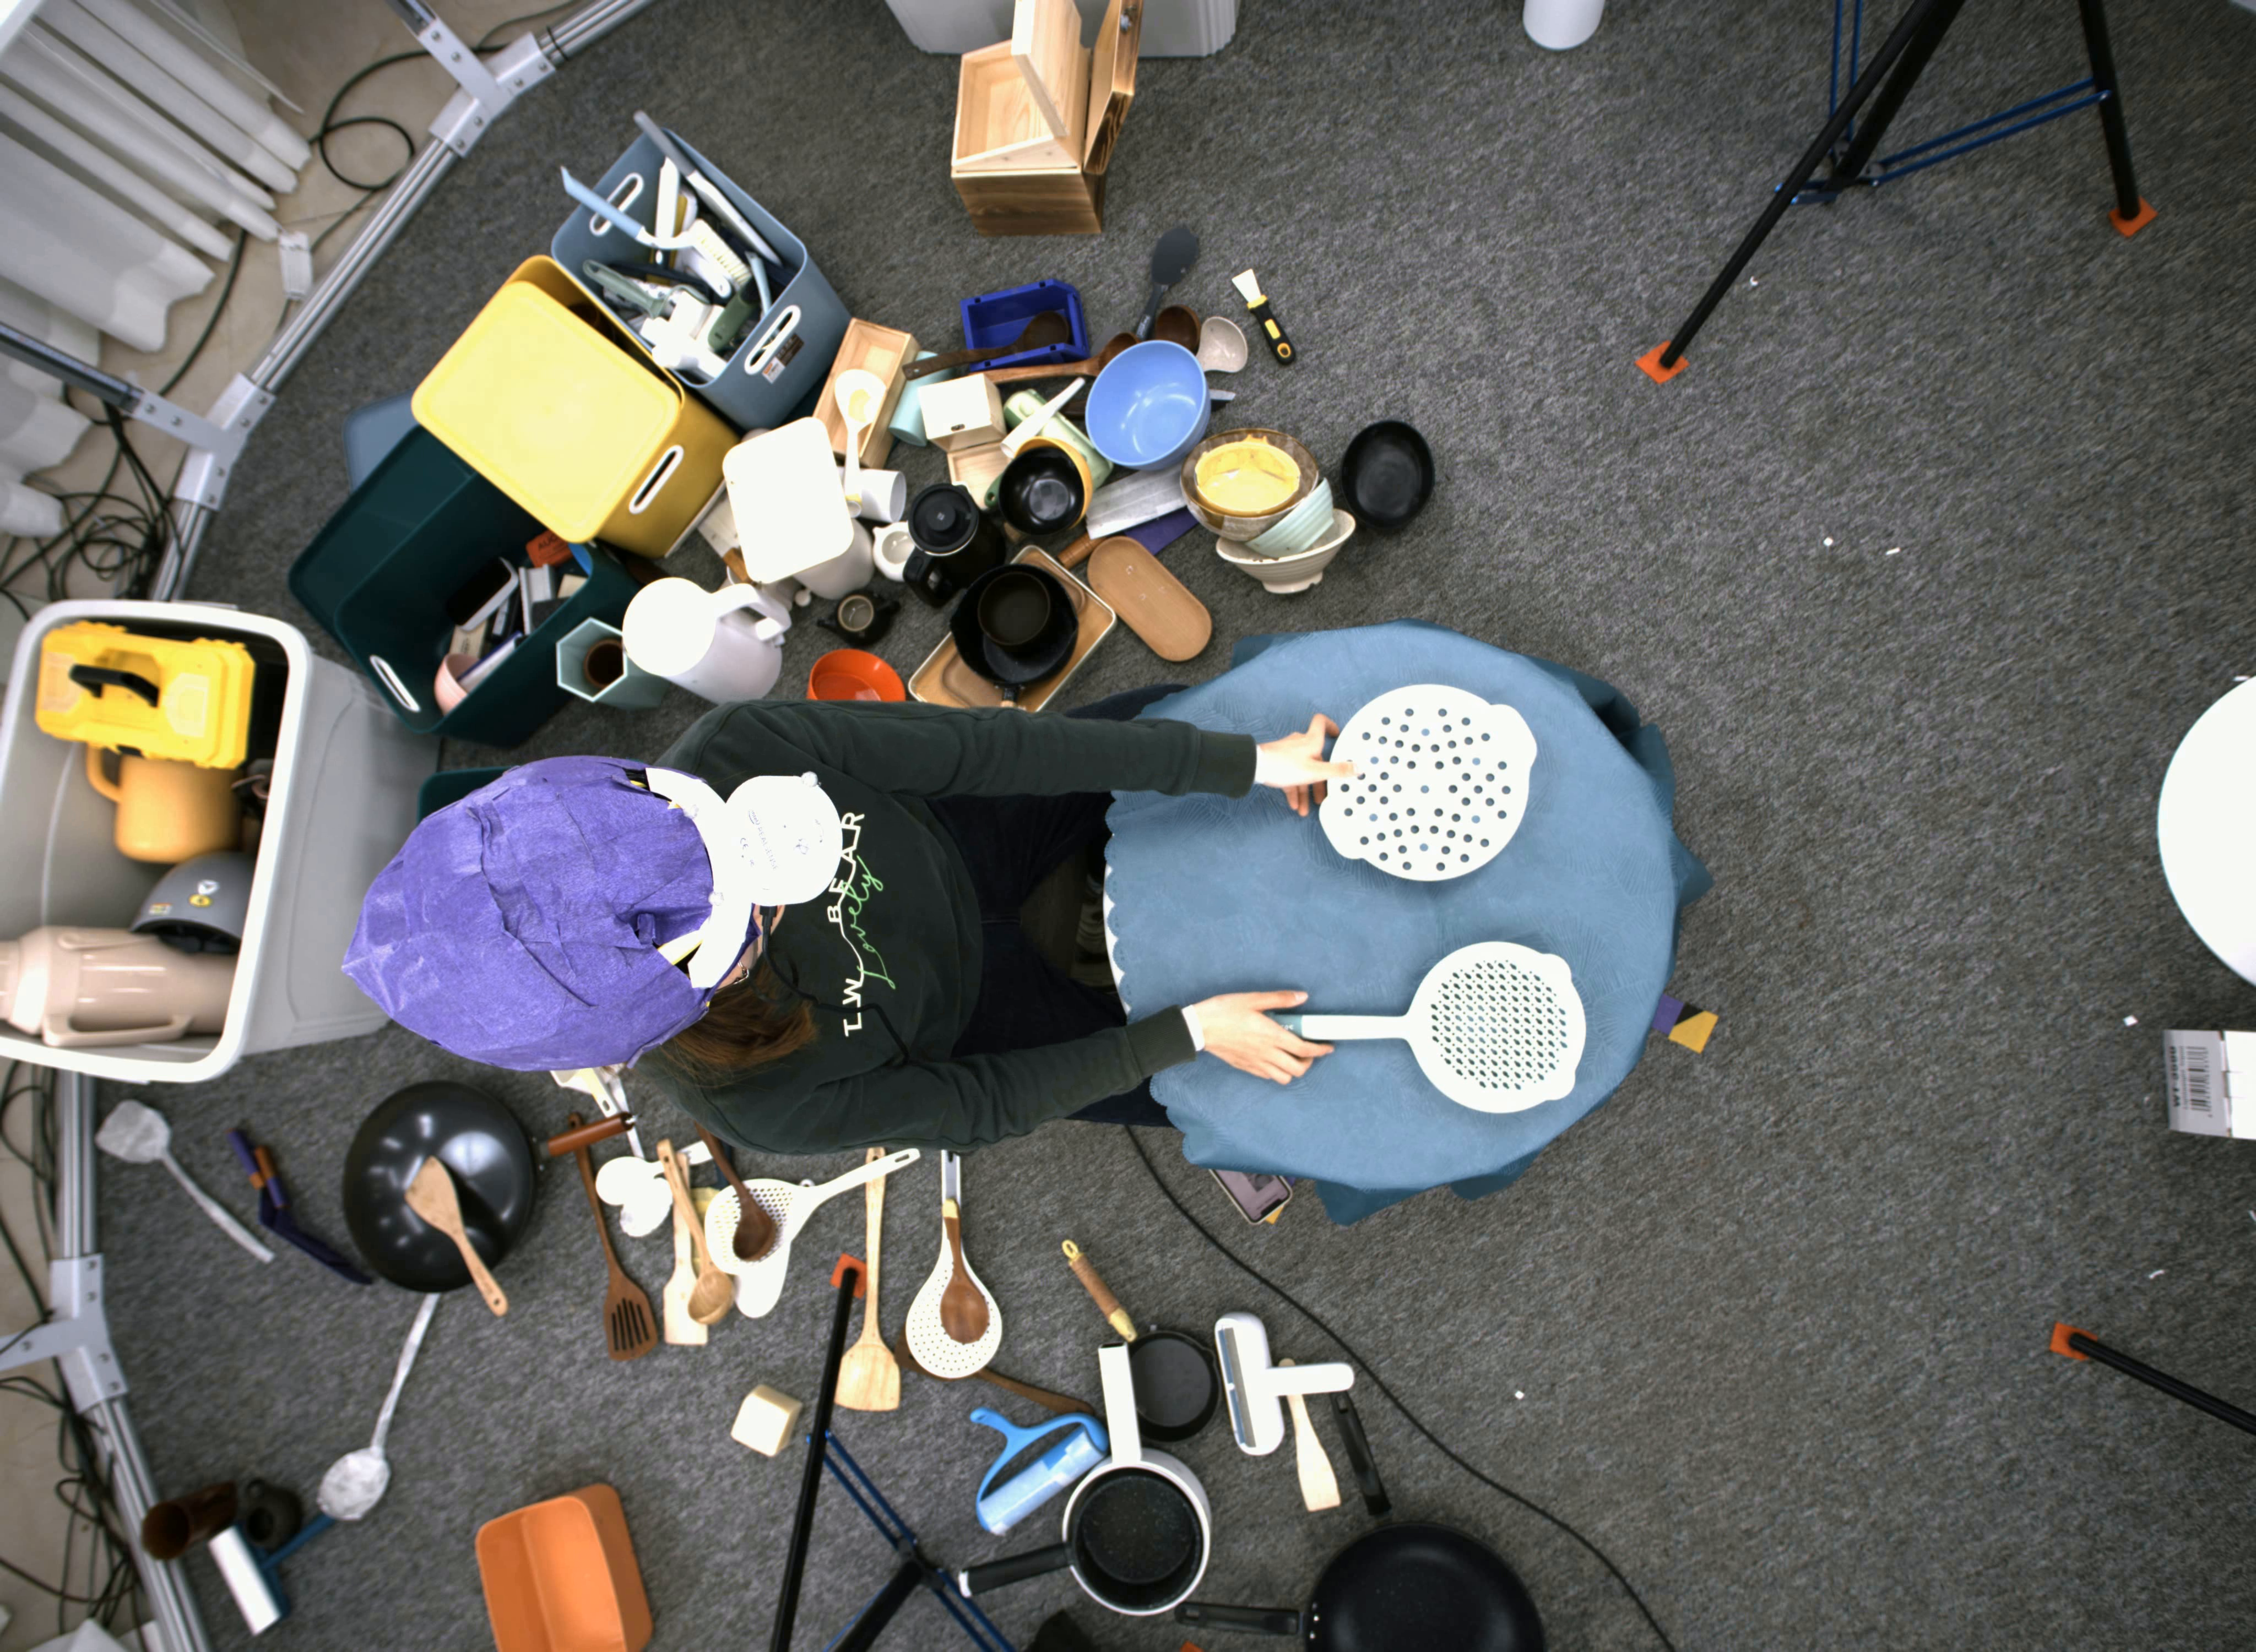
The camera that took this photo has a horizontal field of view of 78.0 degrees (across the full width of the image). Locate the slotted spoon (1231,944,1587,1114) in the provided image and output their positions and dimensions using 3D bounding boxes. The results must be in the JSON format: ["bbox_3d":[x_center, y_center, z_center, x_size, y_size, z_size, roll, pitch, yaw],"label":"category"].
[{"bbox_3d":[0.282,0.206,1.421,0.360,0.075,0.168,-2,85,10],"label":"slotted spoon"}]

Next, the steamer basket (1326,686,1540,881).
[{"bbox_3d":[0.316,-0.043,1.432,0.232,0.069,0.200,-30,80,7],"label":"steamer basket"}]
